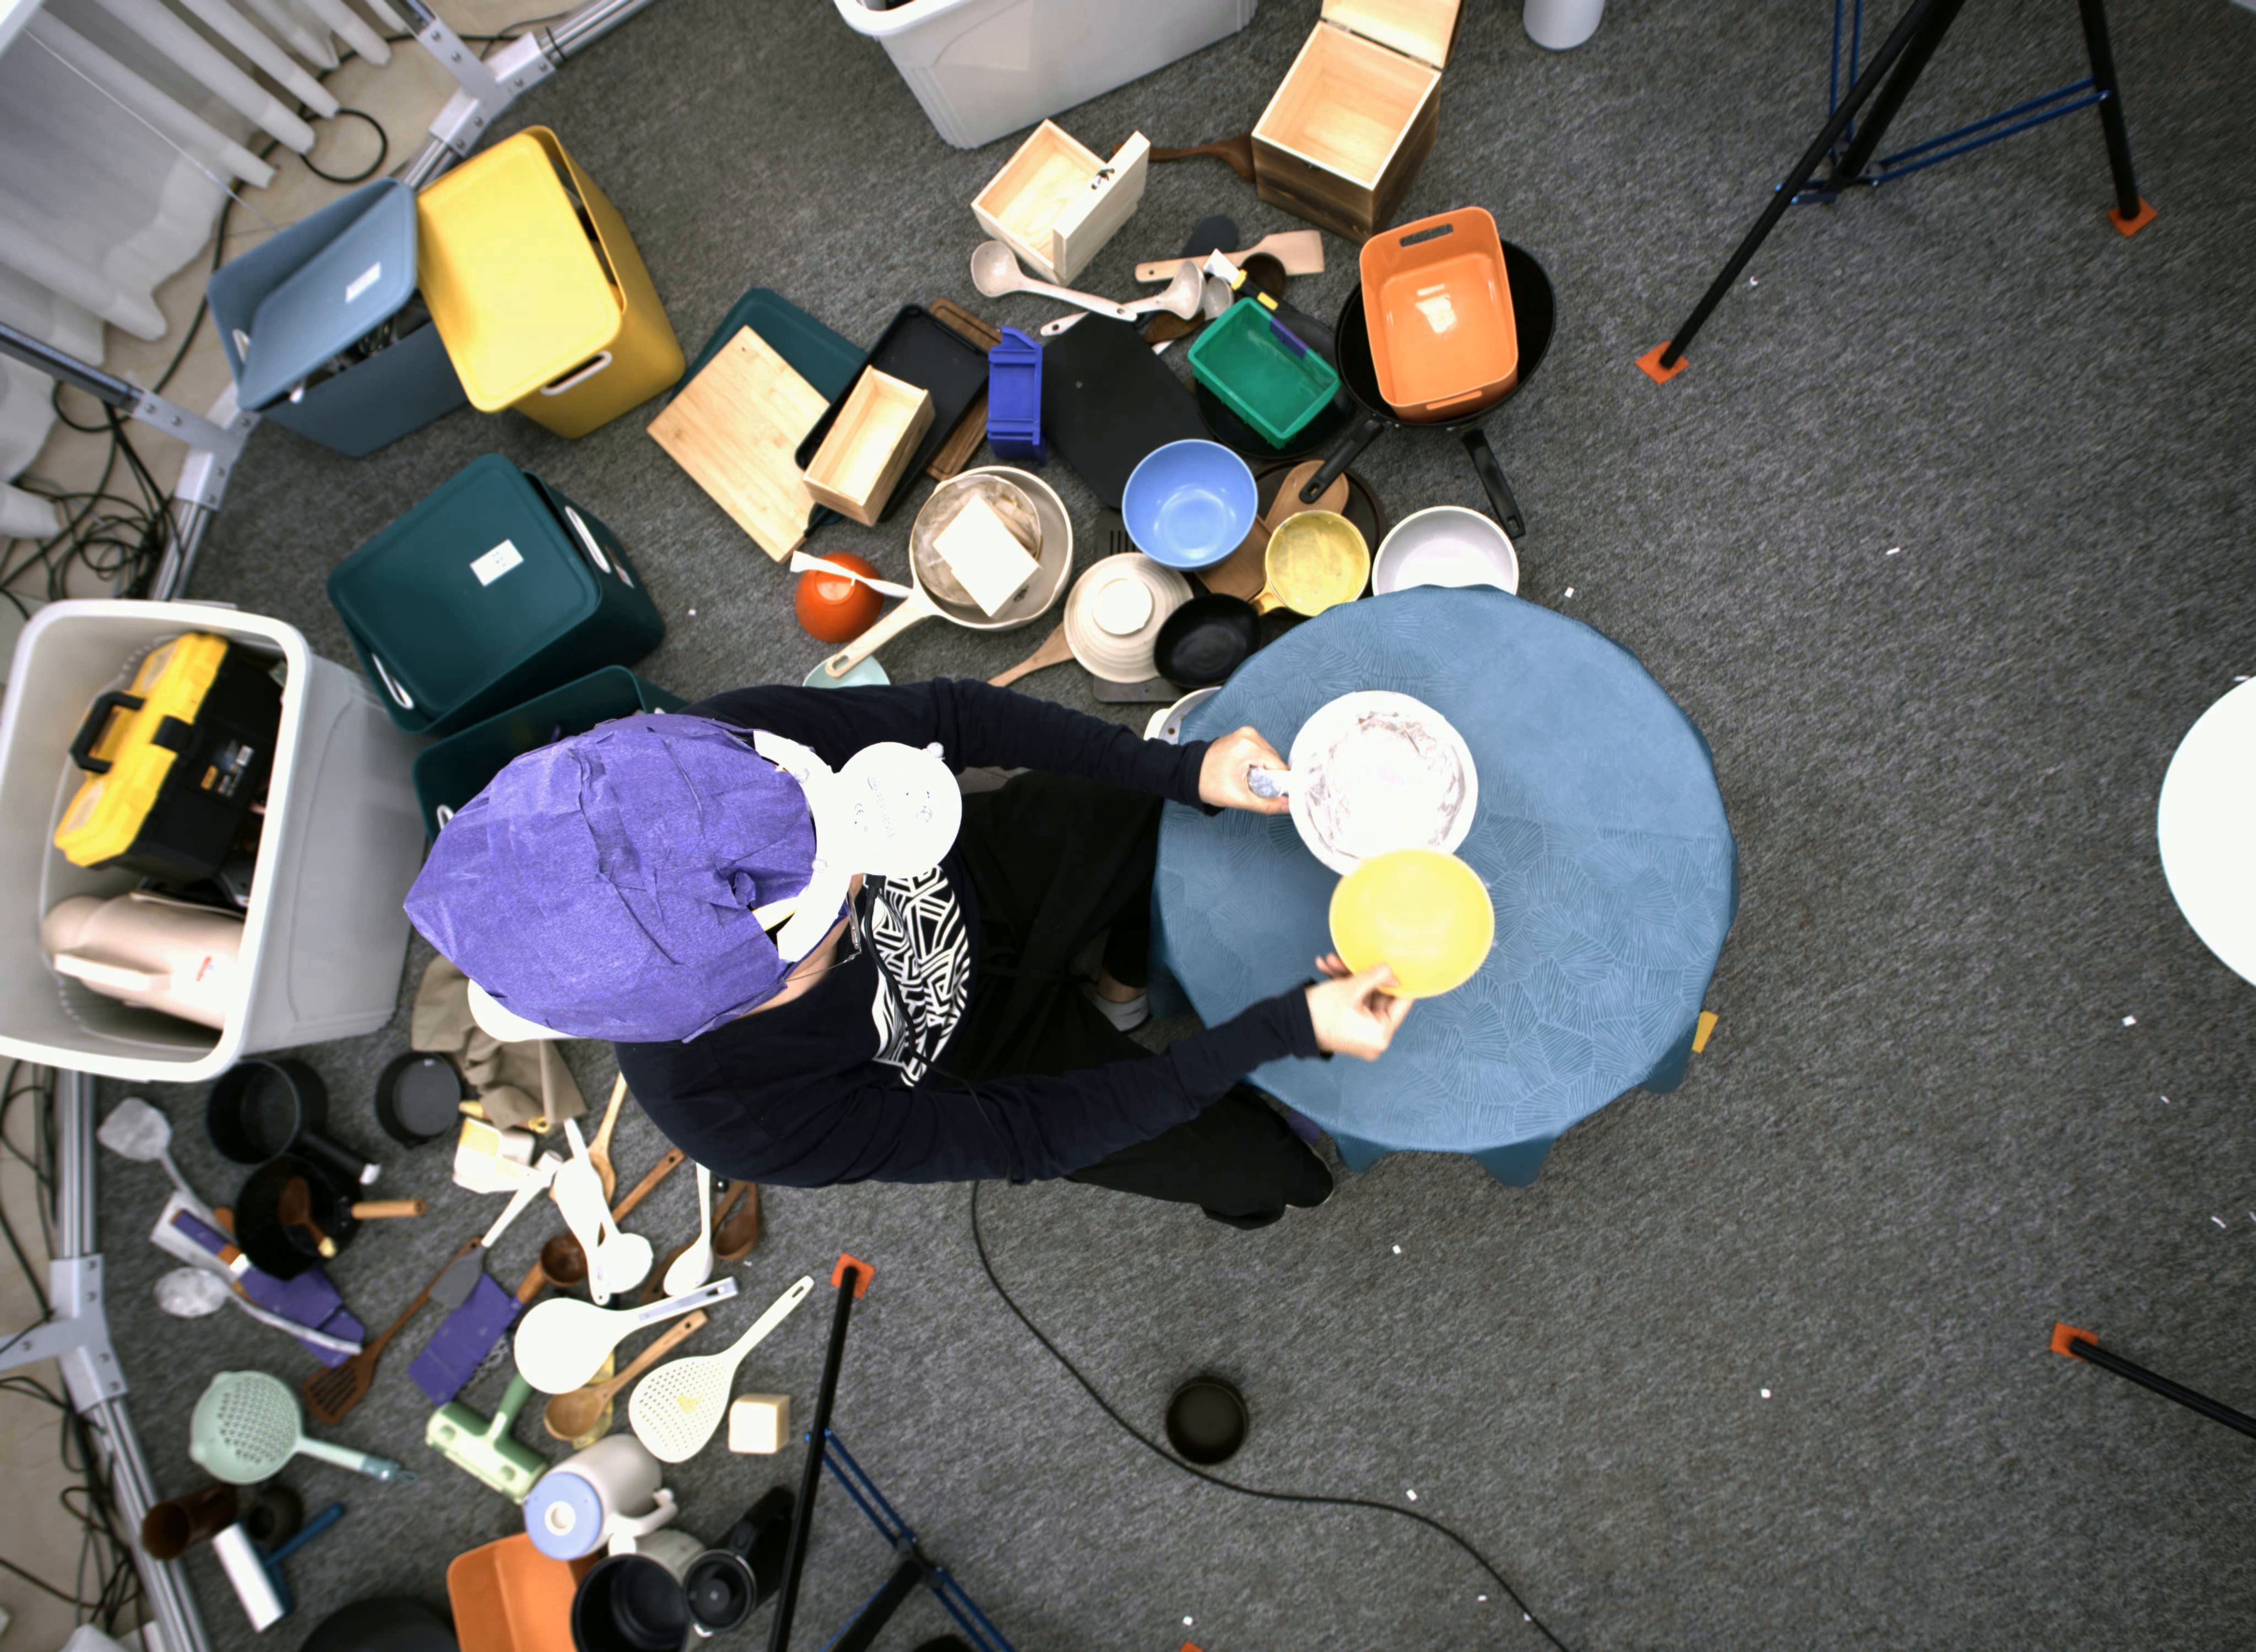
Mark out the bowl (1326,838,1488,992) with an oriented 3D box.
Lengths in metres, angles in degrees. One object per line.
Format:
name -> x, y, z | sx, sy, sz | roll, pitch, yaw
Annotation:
bowl -> 0.253, 0.072, 1.257 | 0.146, 0.059, 0.147 | 4, 109, 10

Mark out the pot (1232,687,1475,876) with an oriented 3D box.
pot -> 0.218, -0.045, 1.365 | 0.234, 0.135, 0.181 | 2, 104, 7
